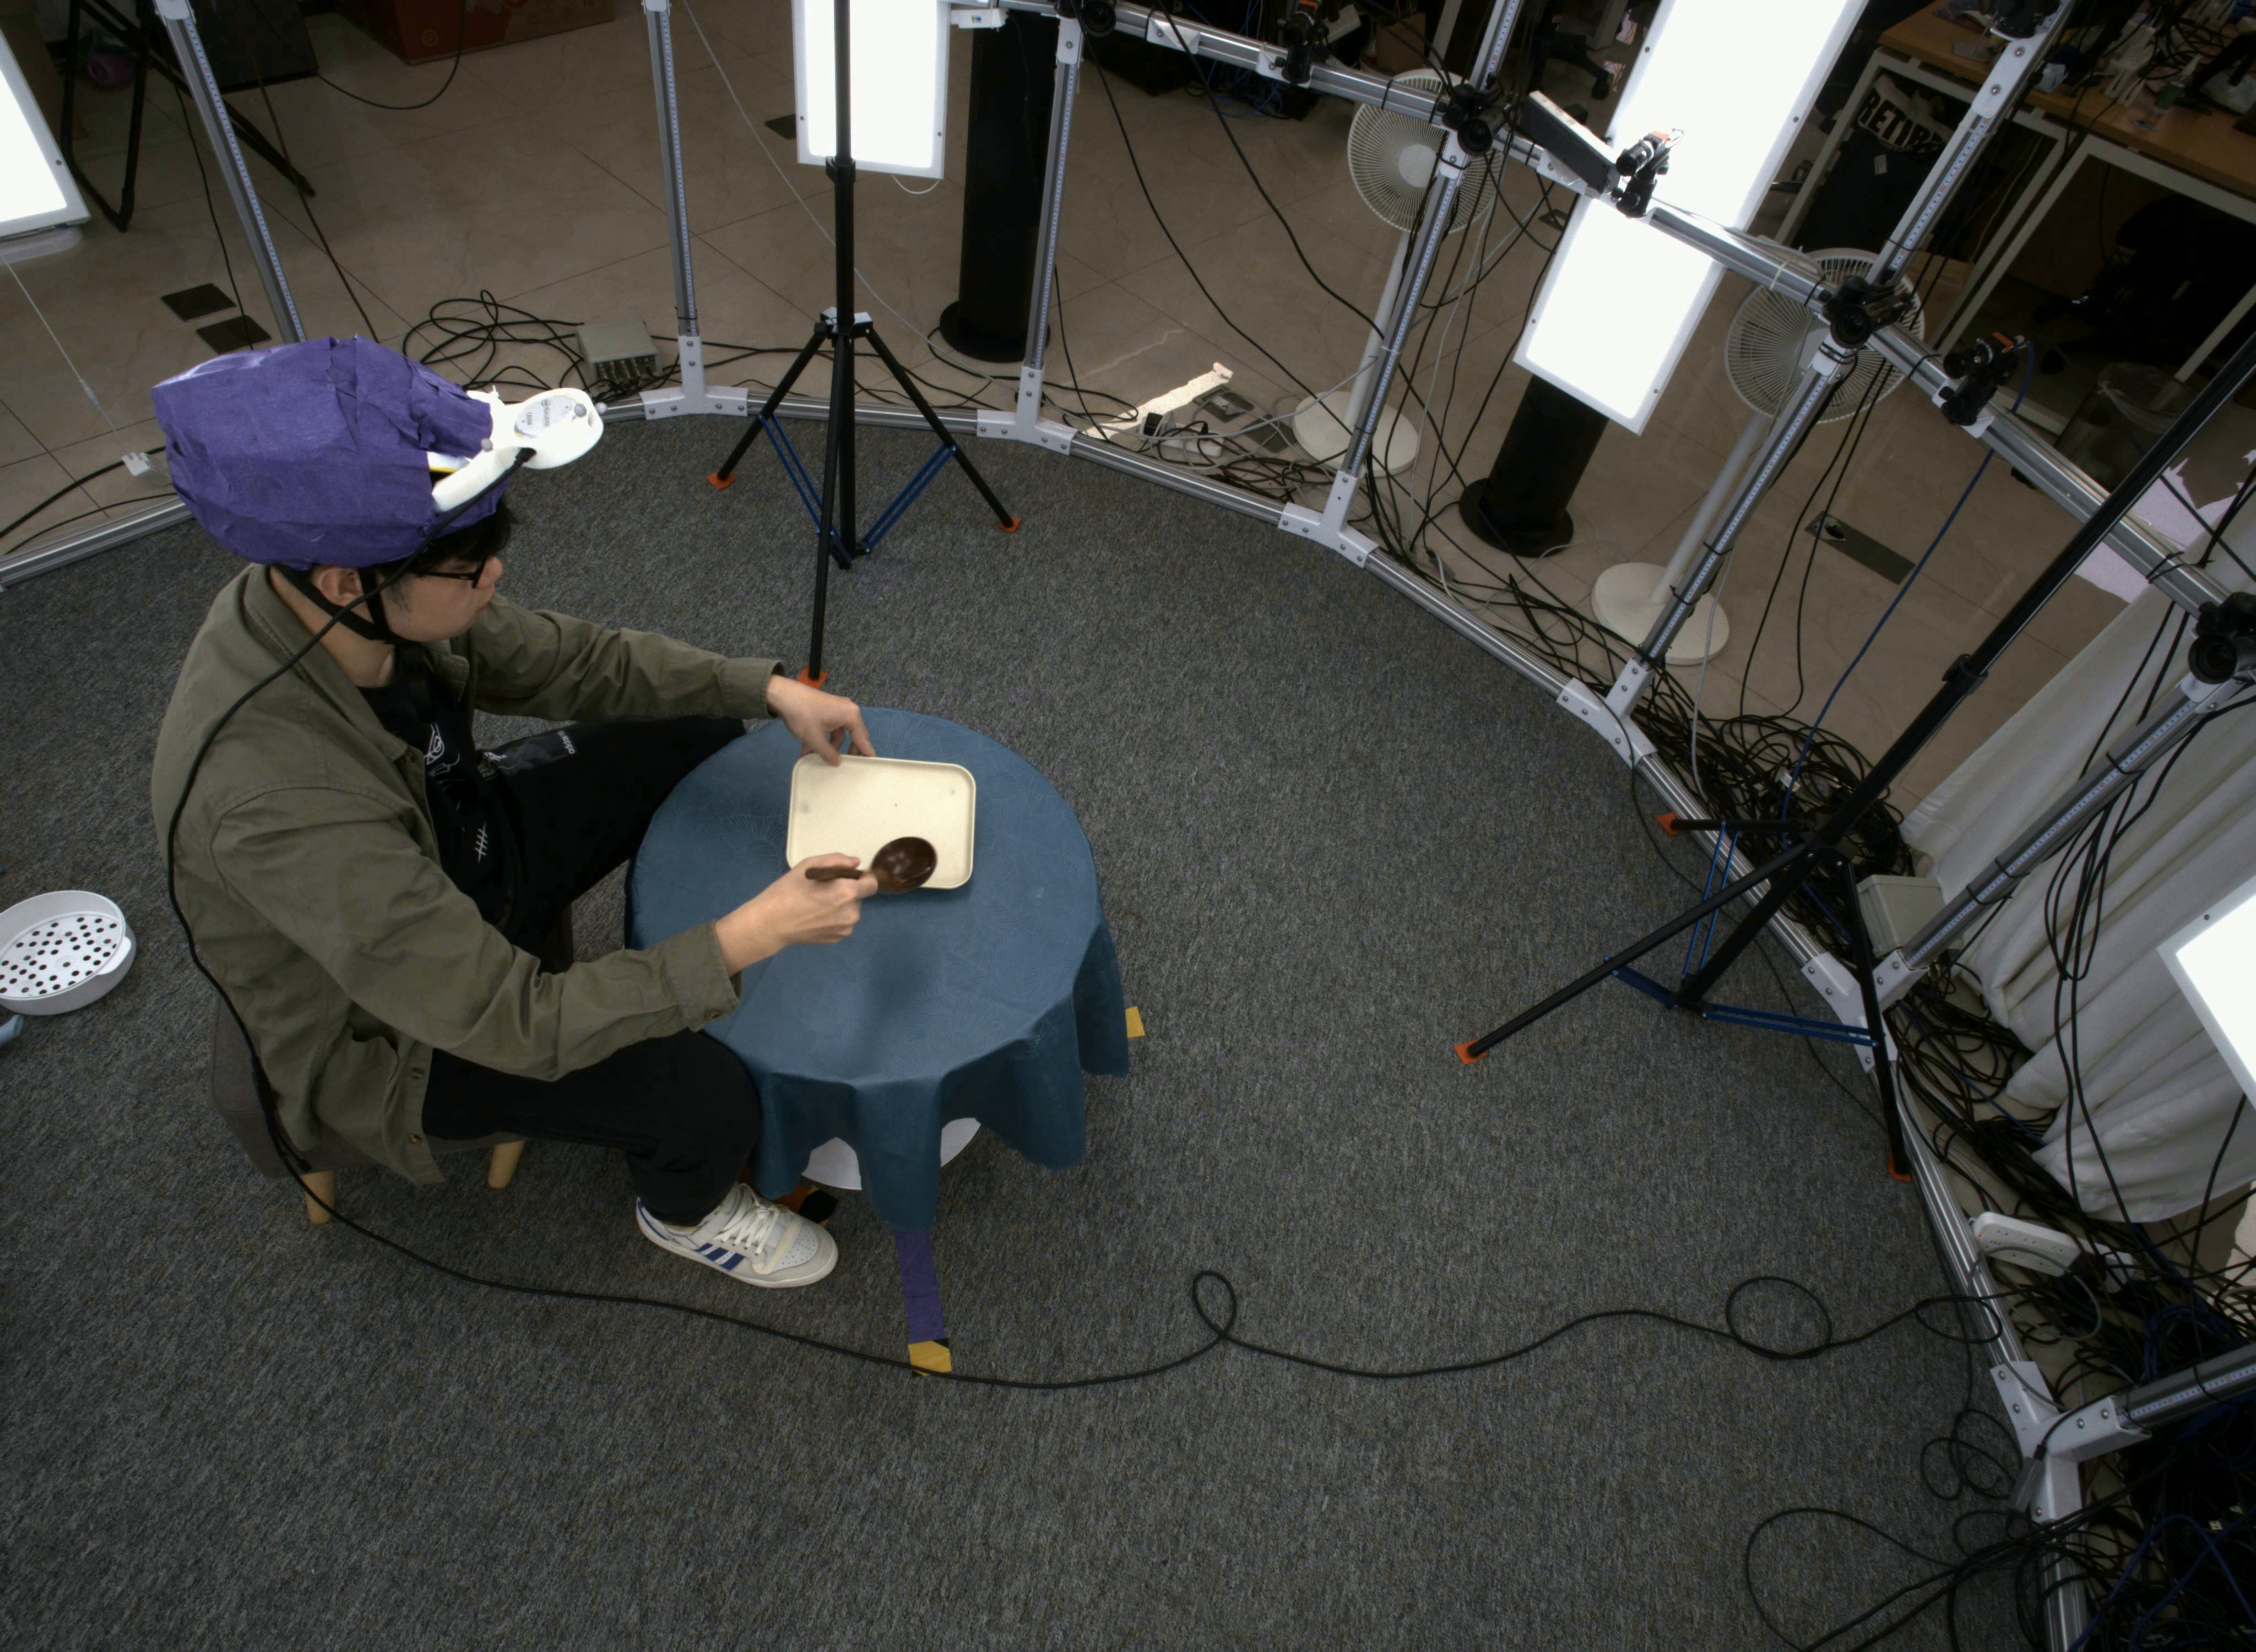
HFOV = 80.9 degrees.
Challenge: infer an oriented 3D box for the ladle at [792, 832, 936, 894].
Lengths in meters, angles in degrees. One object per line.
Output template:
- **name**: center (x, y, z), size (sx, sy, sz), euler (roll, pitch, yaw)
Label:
- **ladle**: center (-0.297, 0.032, 1.459), size (0.080, 0.278, 0.077), euler (-8, 82, 15)

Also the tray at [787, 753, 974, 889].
- **tray**: center (-0.321, -0.006, 1.702), size (0.241, 0.017, 0.171), euler (4, 76, -17)
